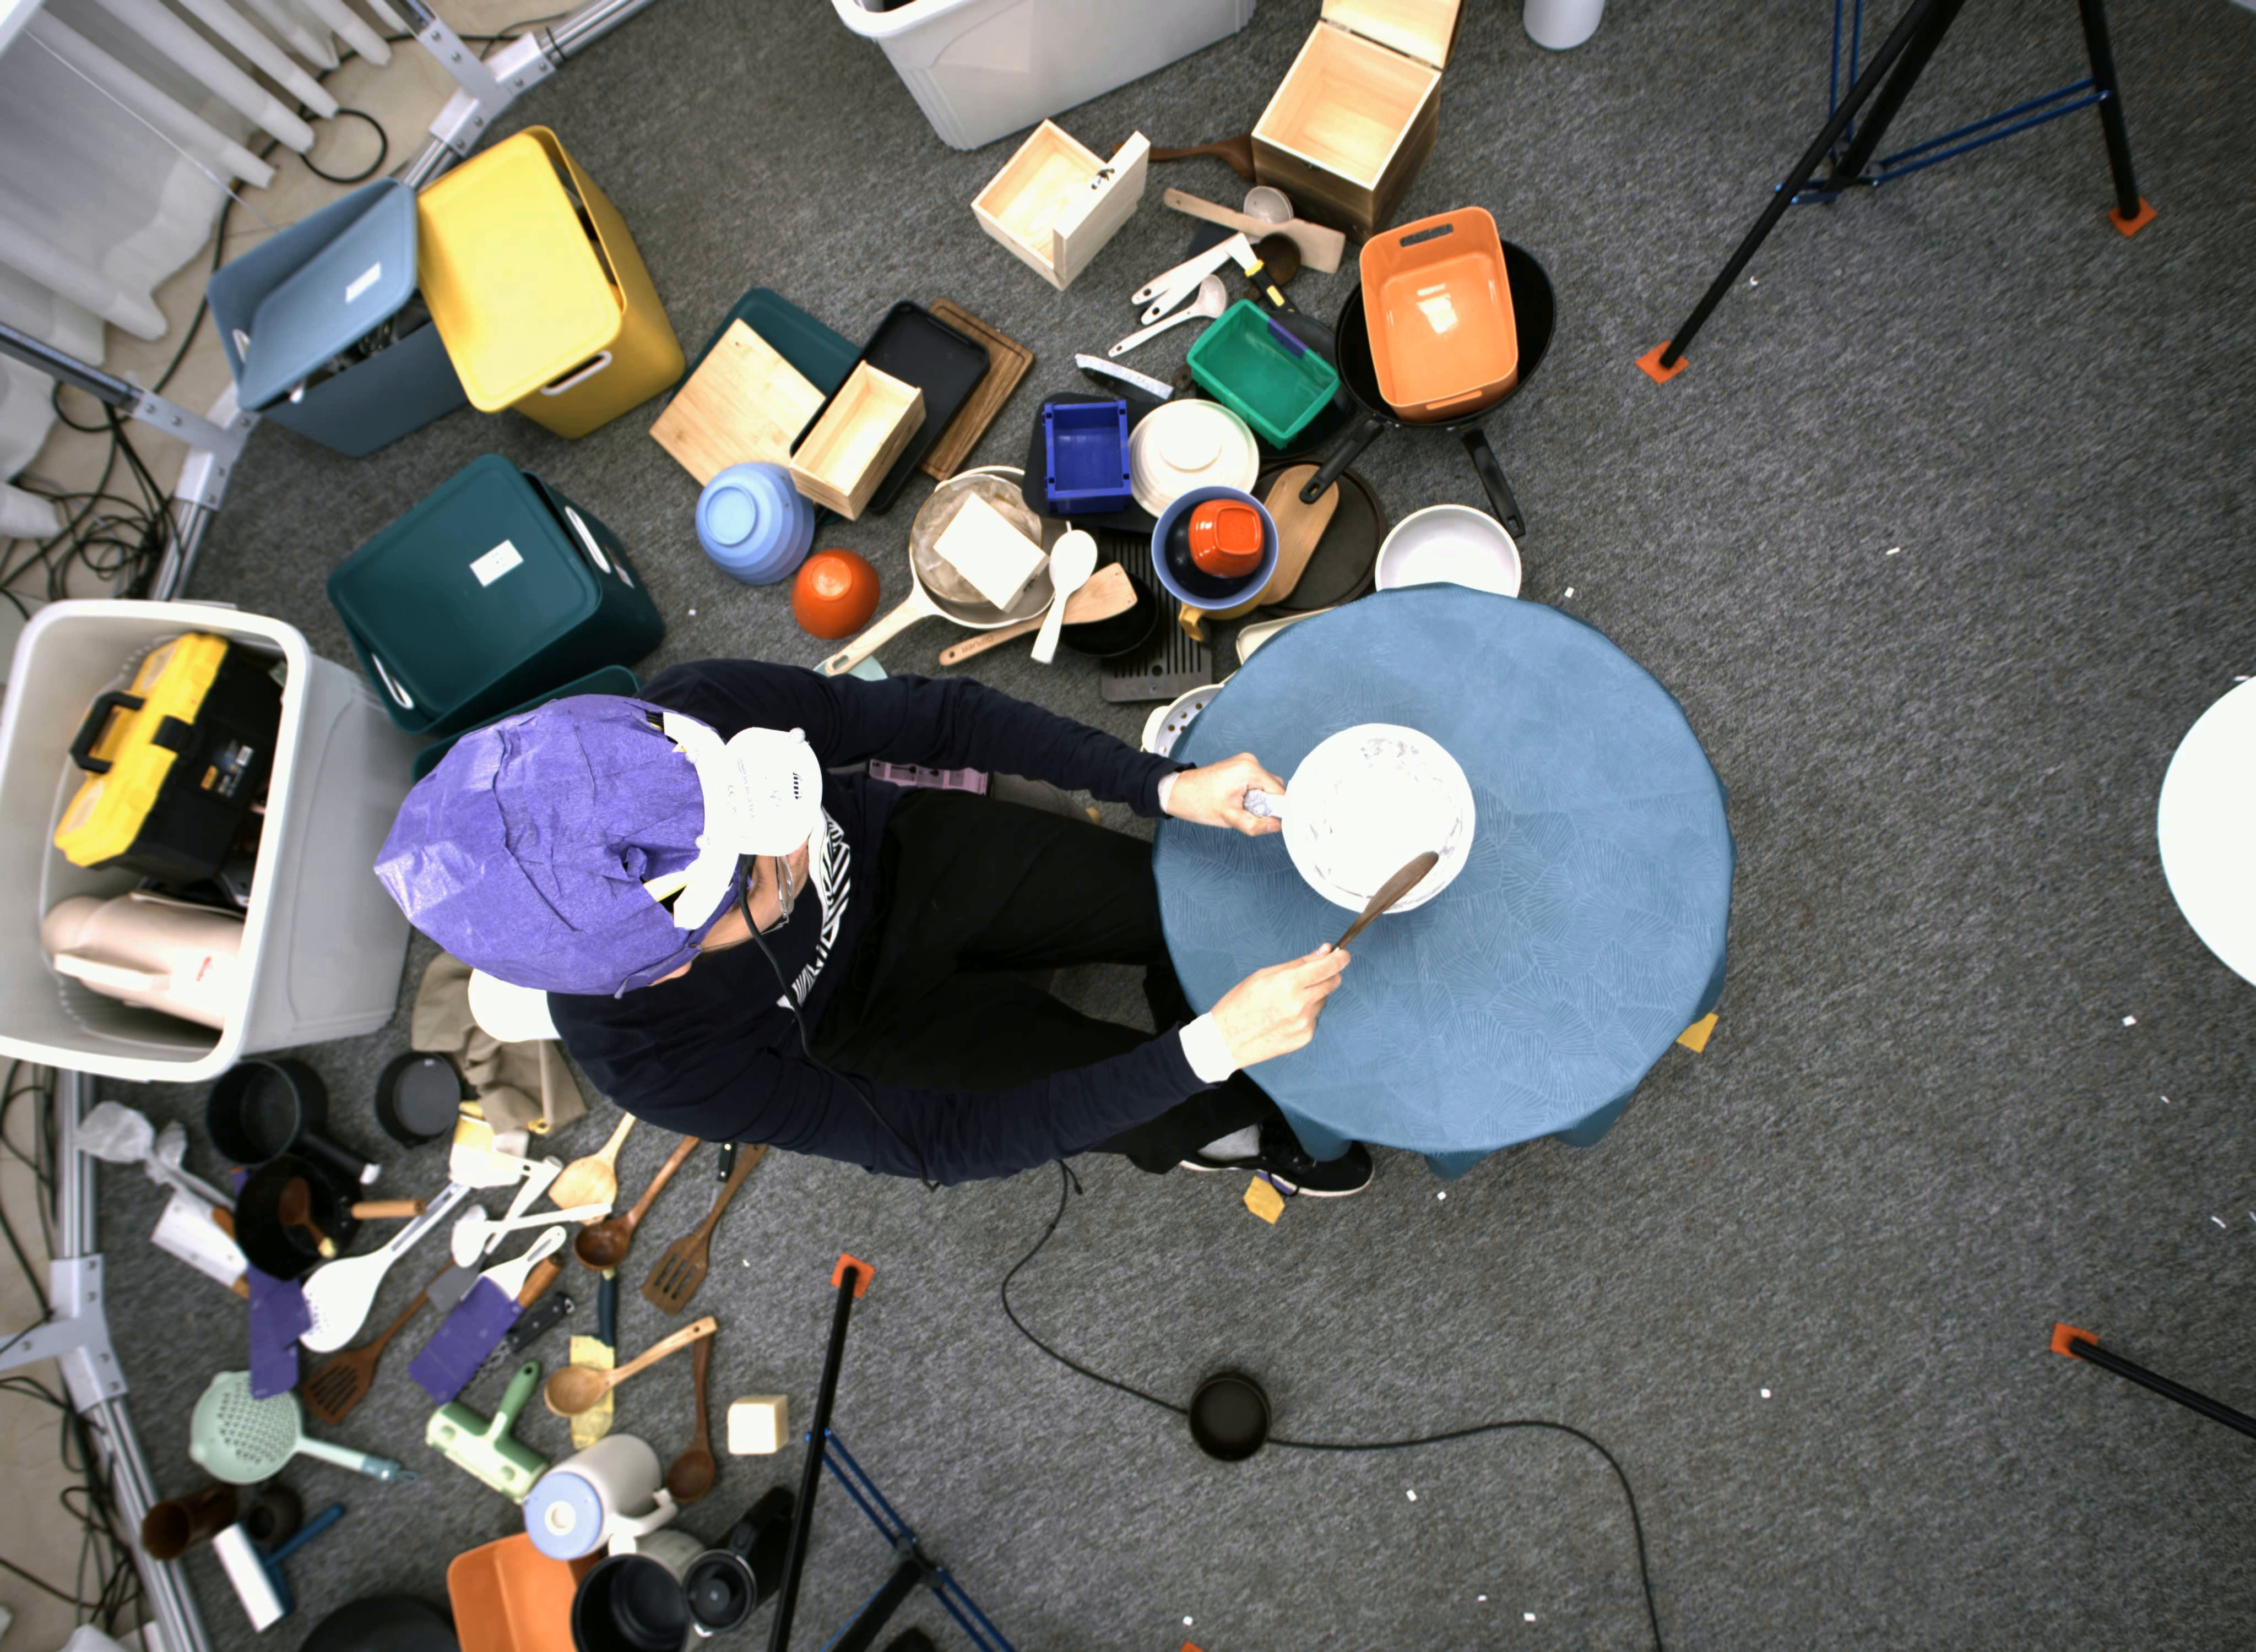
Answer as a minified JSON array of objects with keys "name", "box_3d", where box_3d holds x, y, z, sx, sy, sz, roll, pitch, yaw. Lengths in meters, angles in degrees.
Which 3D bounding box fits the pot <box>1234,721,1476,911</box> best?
[{"name":"pot","box_3d":[0.216,-0.011,1.344,0.234,0.136,0.179,5,91,10]}]

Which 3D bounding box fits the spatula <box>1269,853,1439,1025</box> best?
[{"name":"spatula","box_3d":[0.202,0.100,1.246,0.009,0.071,0.216,43,93,-2]}]
